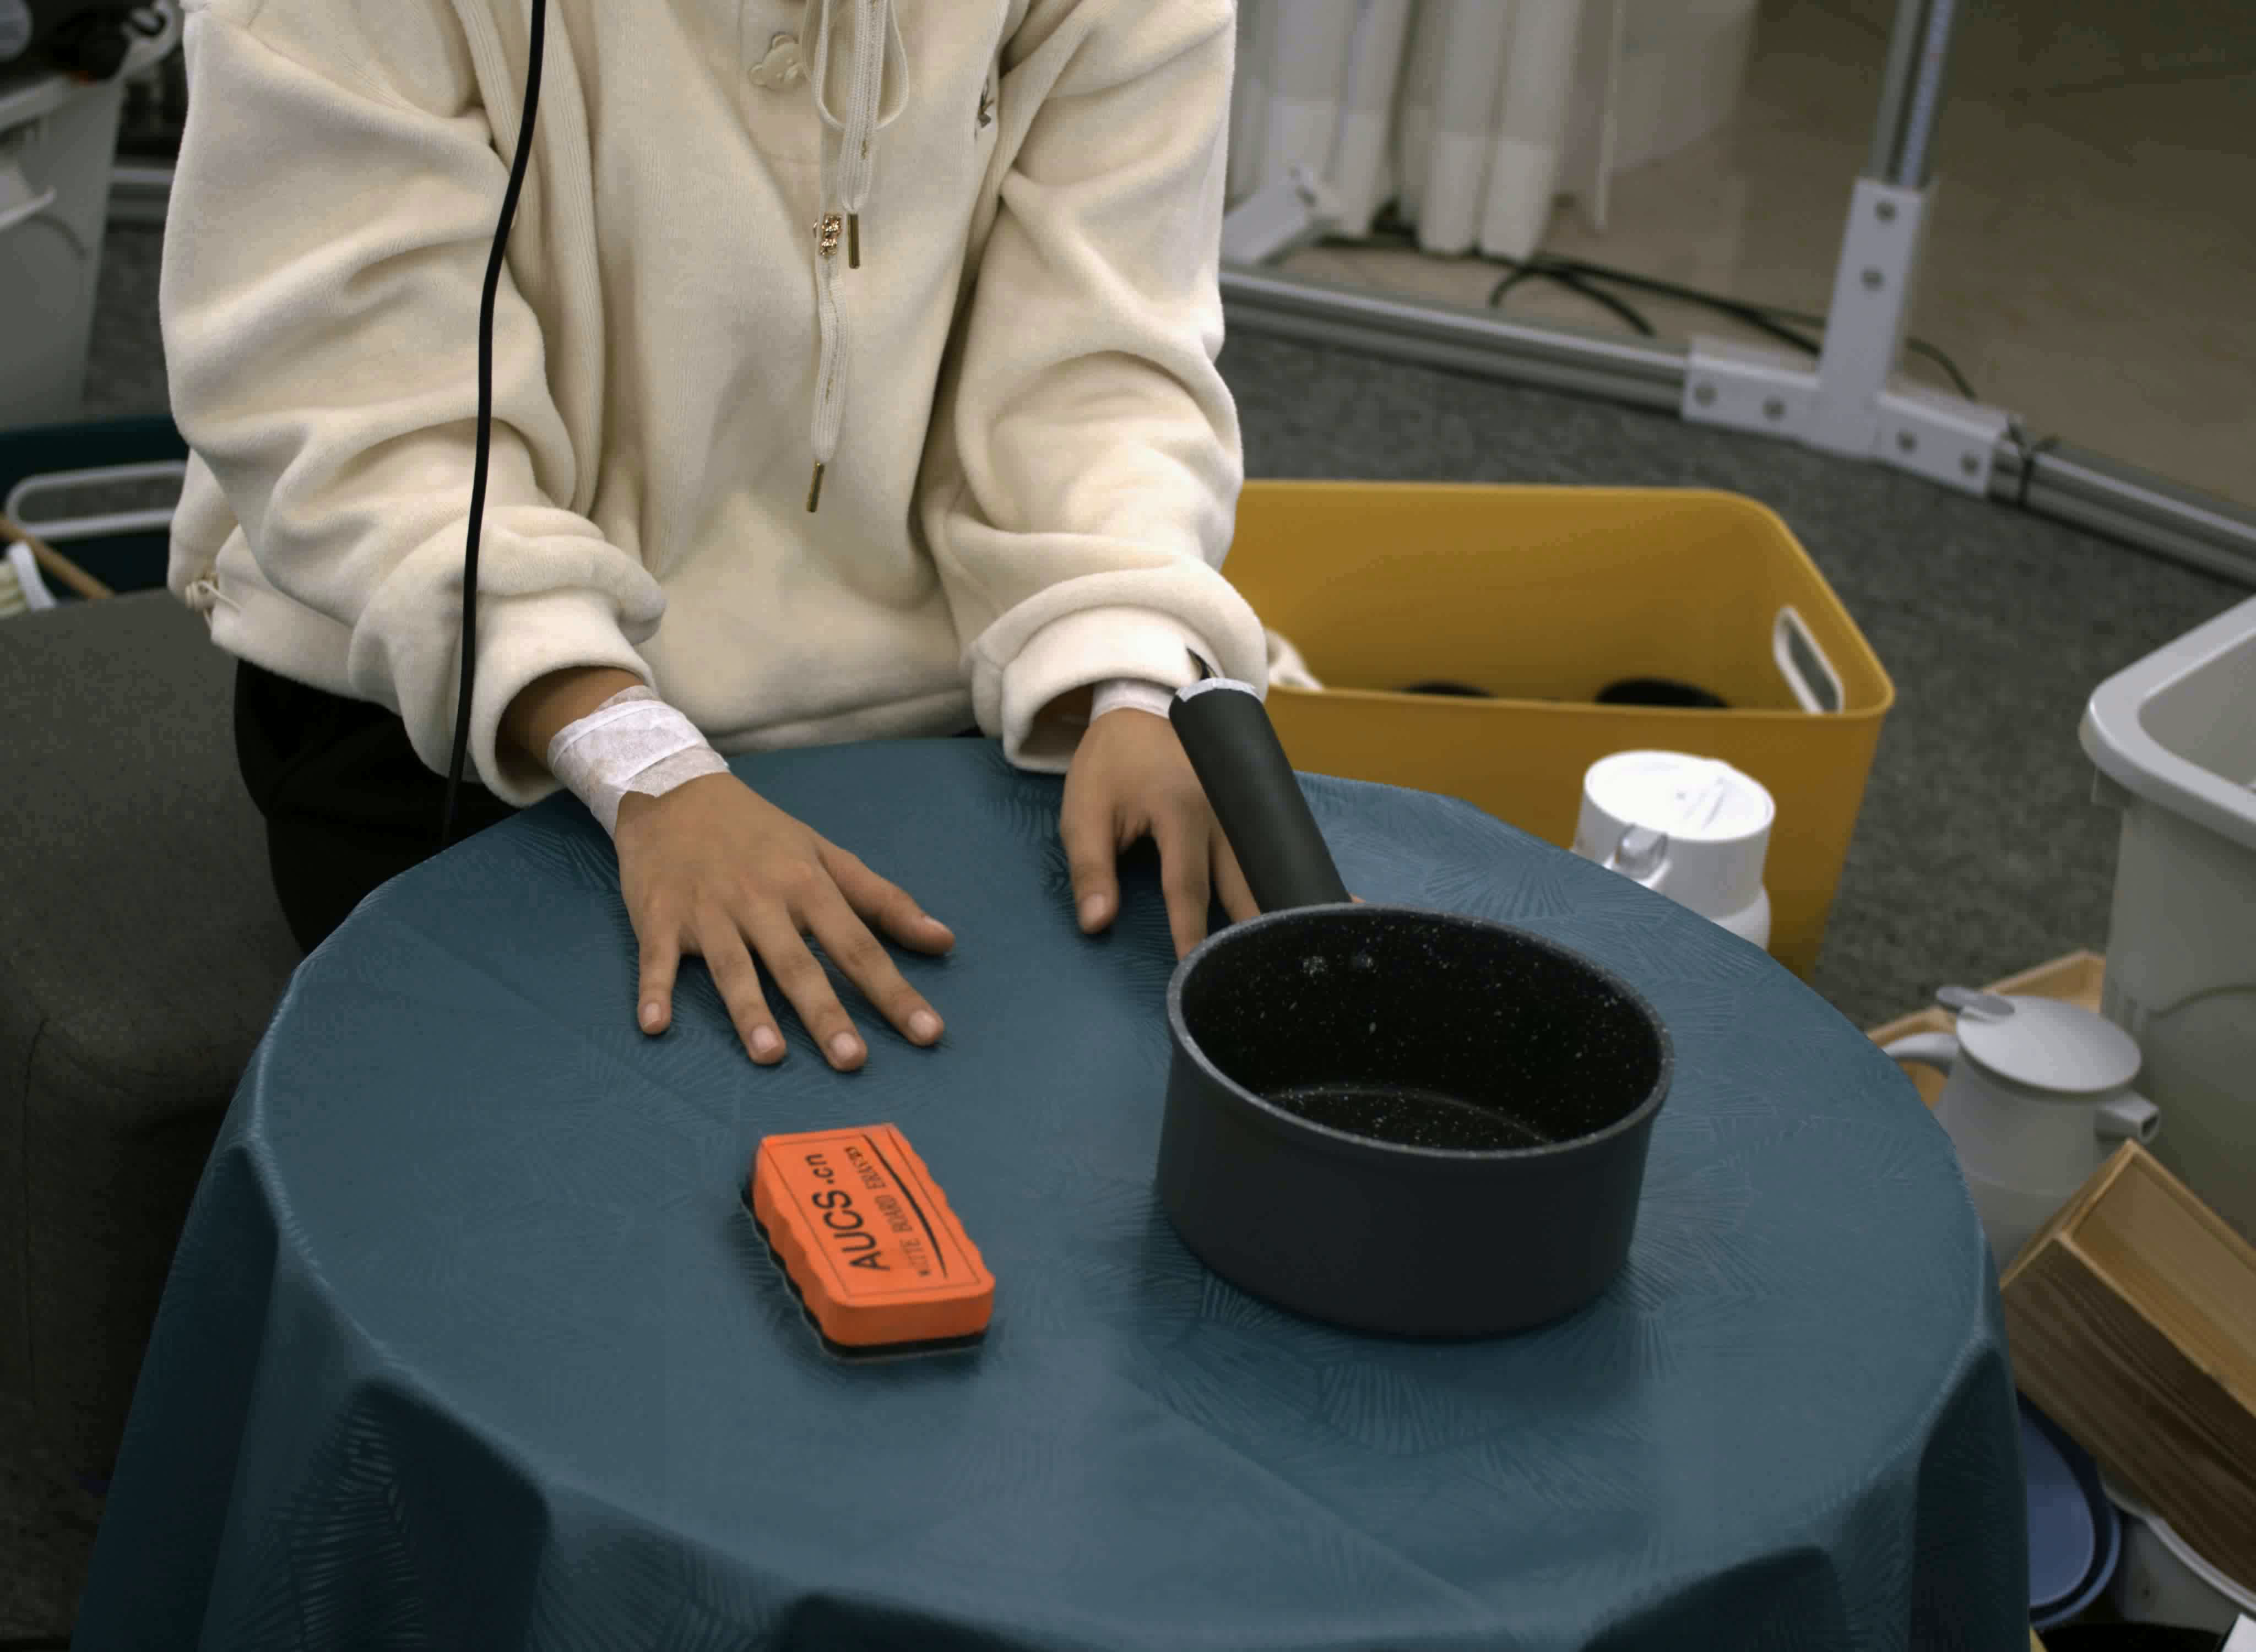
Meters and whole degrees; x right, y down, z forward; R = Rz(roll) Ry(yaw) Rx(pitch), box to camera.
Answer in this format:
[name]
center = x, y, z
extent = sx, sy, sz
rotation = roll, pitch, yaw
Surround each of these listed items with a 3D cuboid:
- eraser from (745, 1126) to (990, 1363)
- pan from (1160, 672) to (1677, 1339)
[eraser]
center = -0.085, 0.135, 1.733
extent = 0.058, 0.023, 0.109
rotation = -4, 29, -19
[pan]
center = 0.075, 0.059, 1.854
extent = 0.171, 0.086, 0.331
rotation = -1, 29, -15
